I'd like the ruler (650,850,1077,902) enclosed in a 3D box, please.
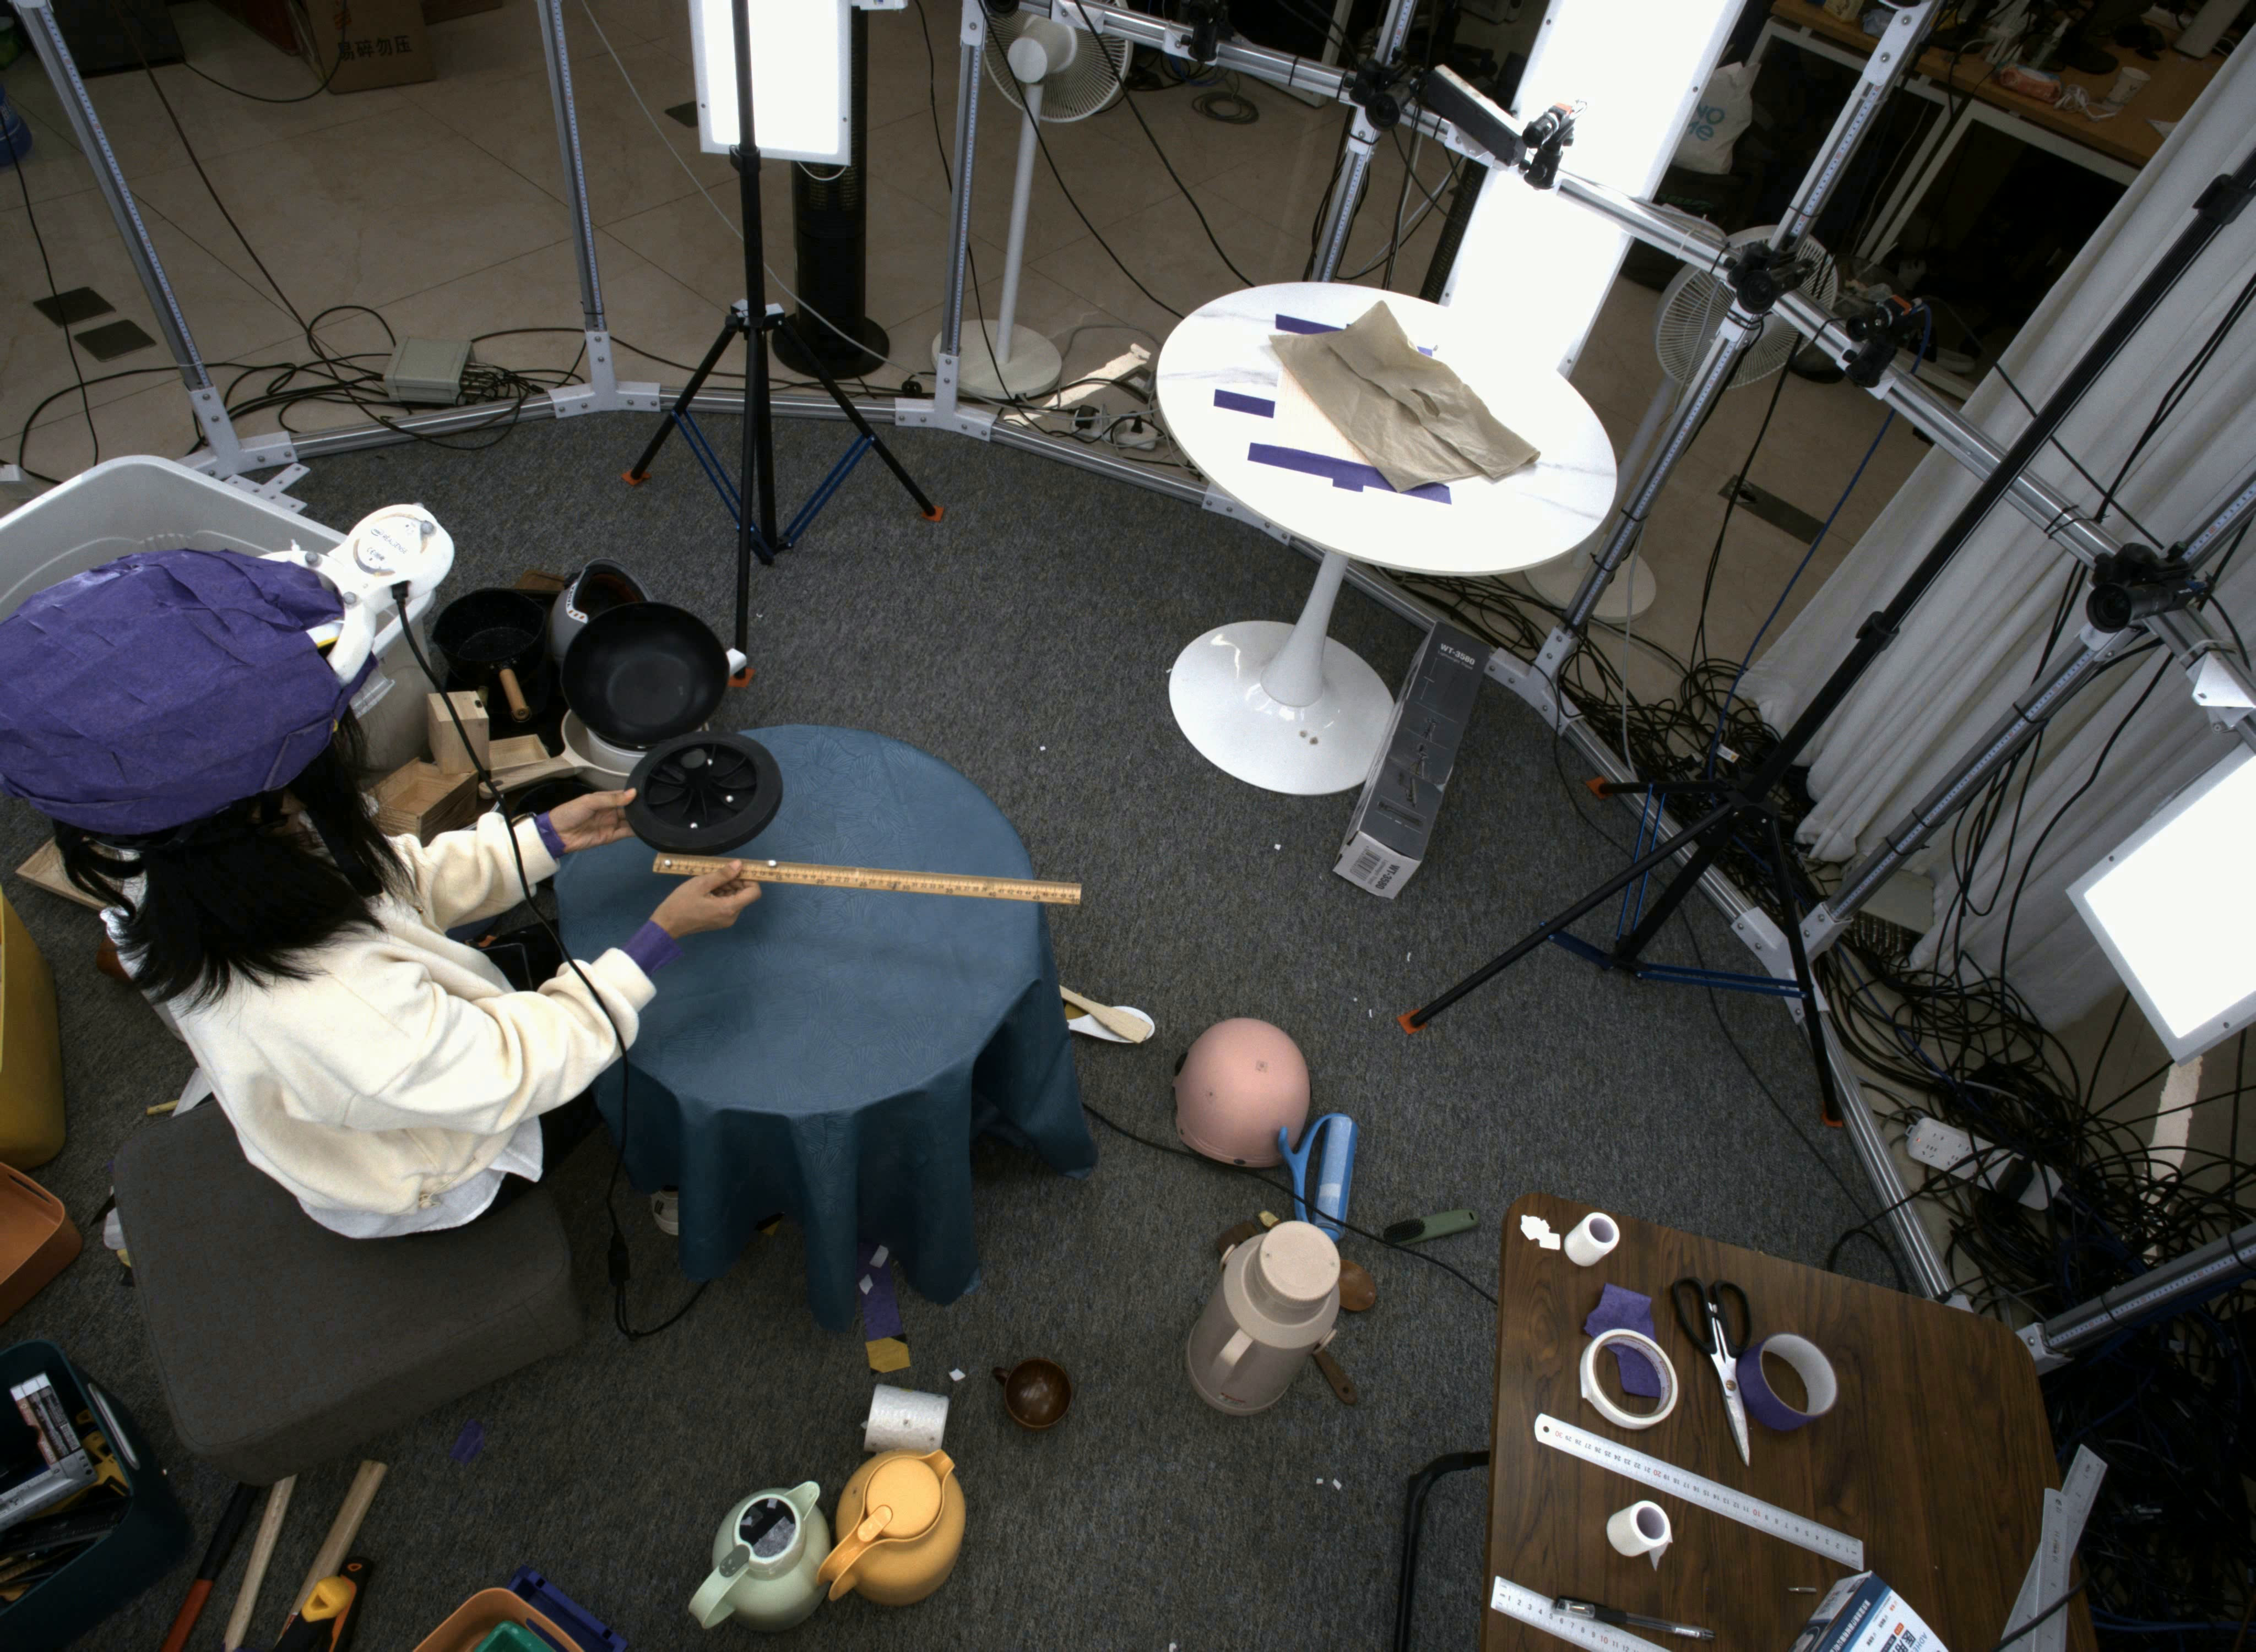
[{"bbox_3d":[-0.305,0.056,1.482,0.494,0.006,0.026,4,69,0],"label":"ruler"}]

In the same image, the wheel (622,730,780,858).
[{"bbox_3d":[-0.512,-0.056,1.528,0.187,0.081,0.185,10,52,3],"label":"wheel"}]
